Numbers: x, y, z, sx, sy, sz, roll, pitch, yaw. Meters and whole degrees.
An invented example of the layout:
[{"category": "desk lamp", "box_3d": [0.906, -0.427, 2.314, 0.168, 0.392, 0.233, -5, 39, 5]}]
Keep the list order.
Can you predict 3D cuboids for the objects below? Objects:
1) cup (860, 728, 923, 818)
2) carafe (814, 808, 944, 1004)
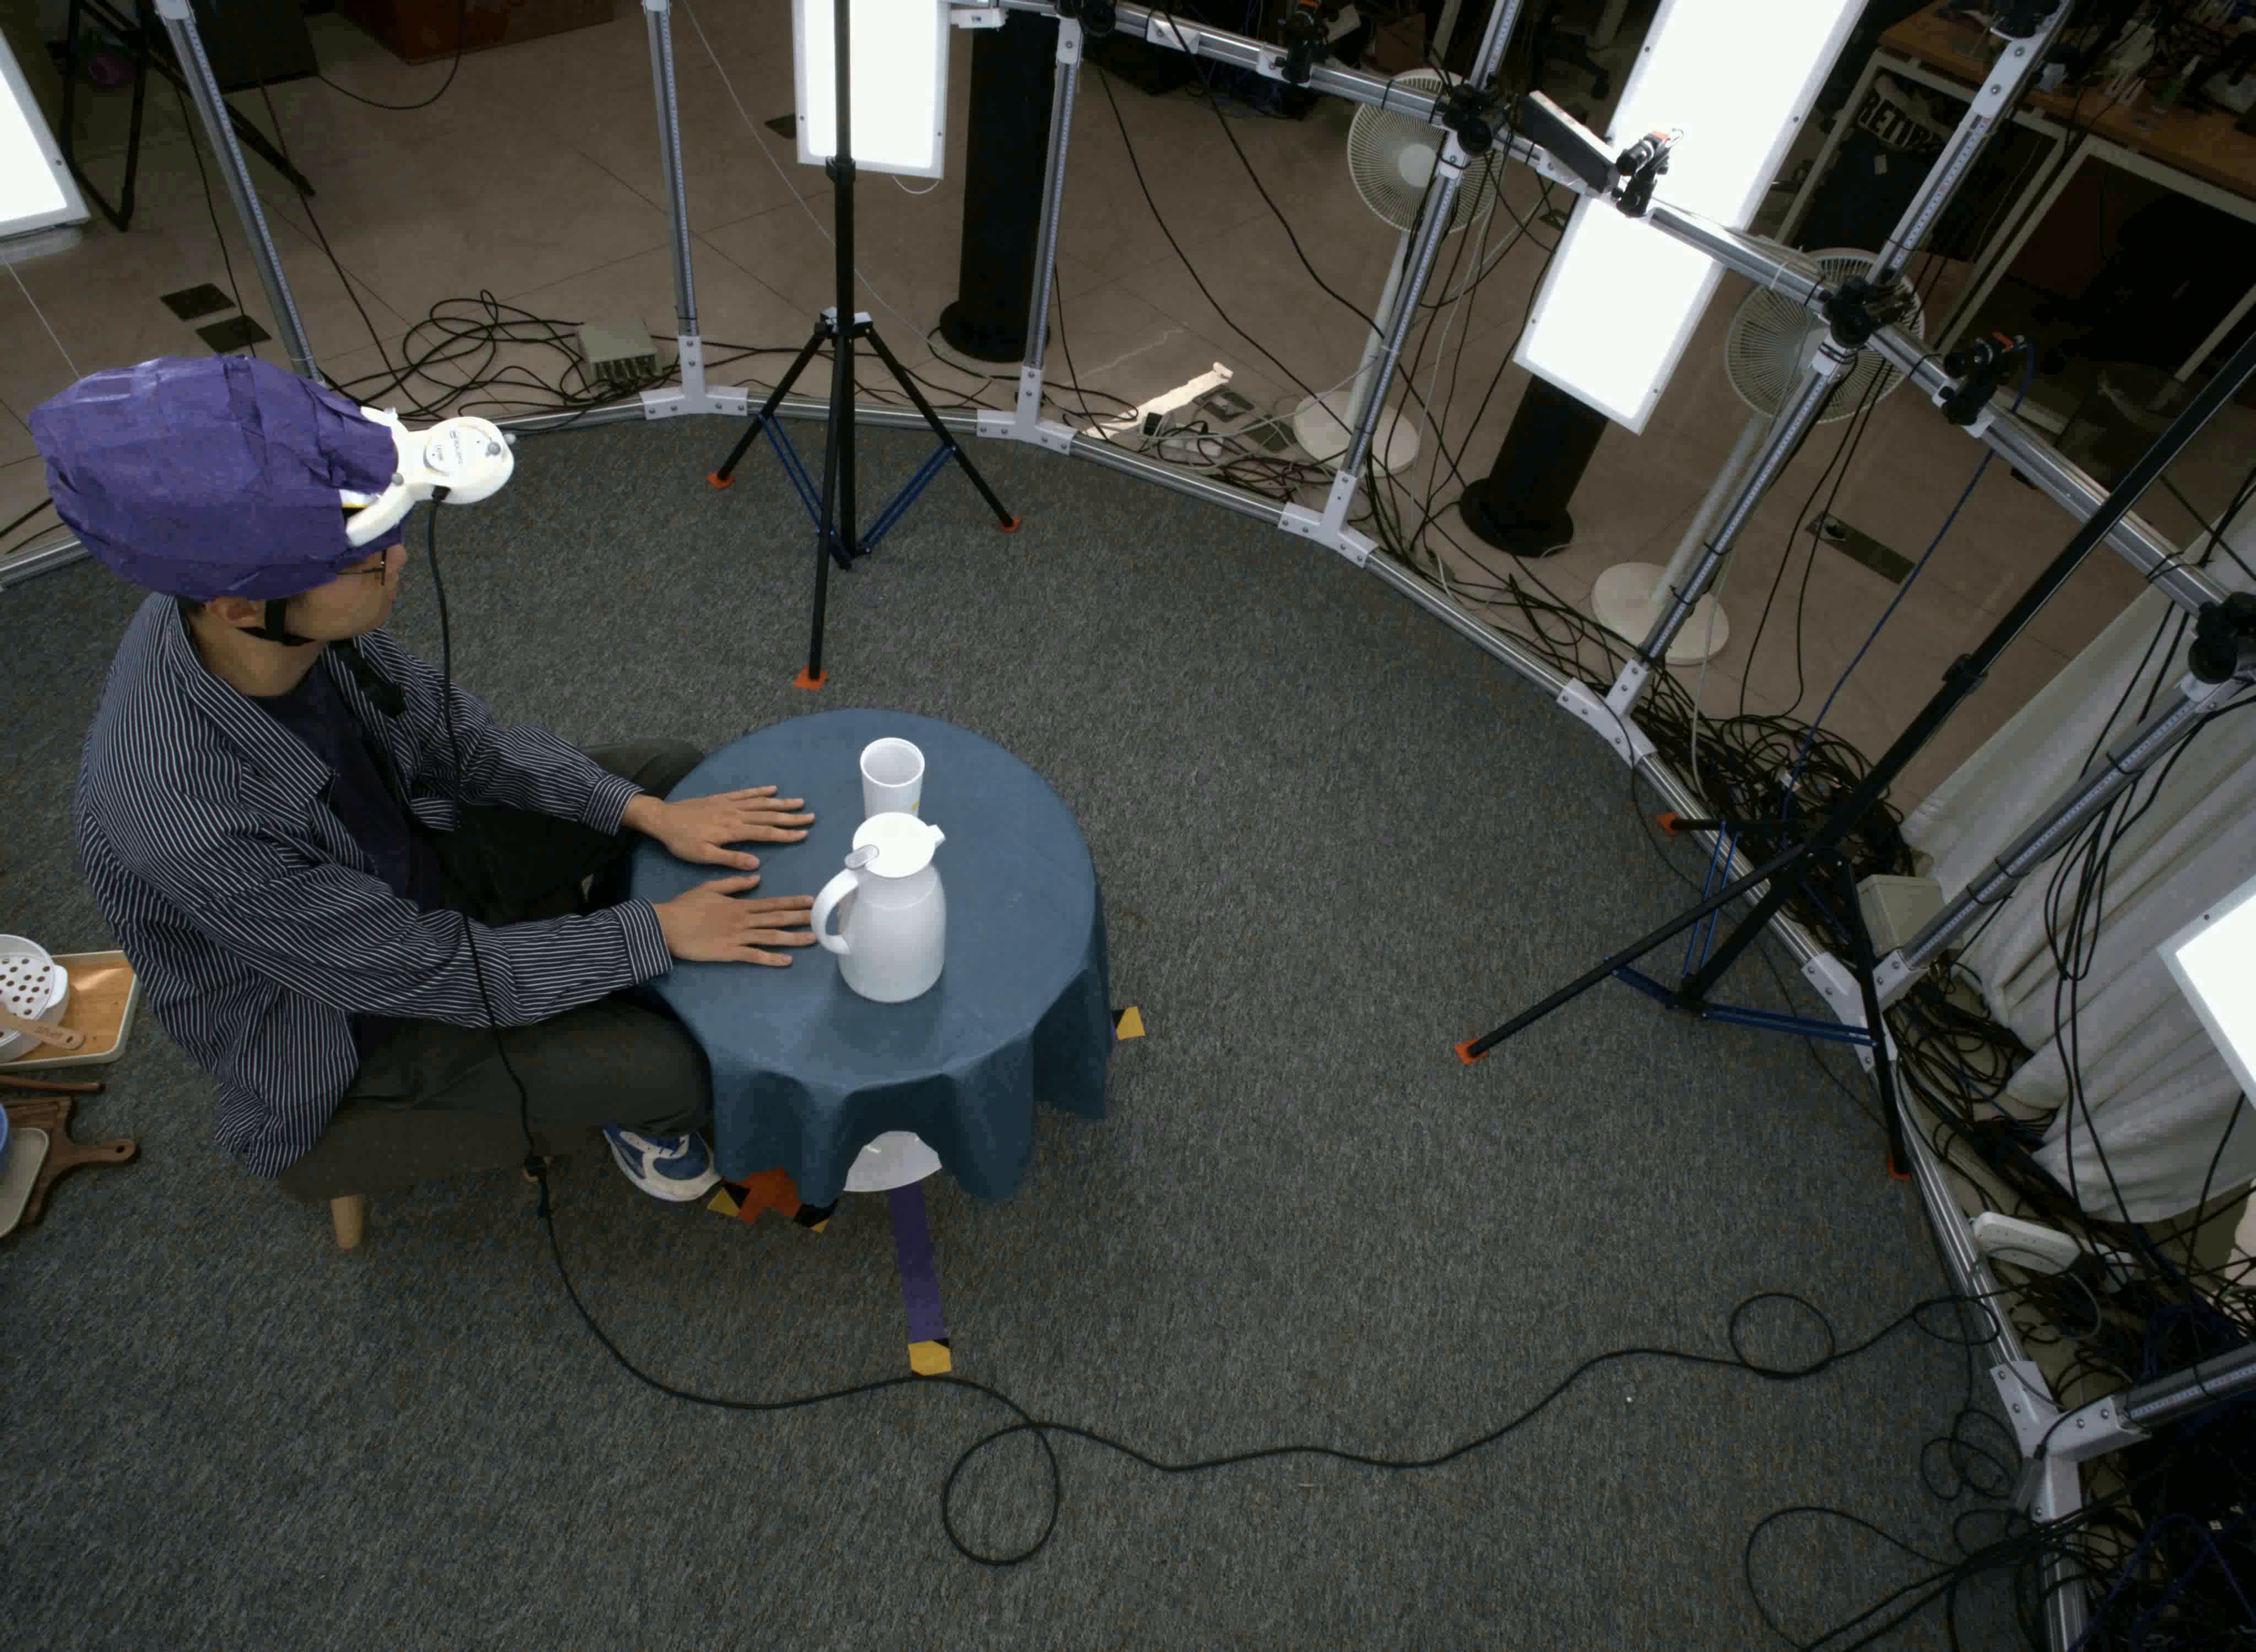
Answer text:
[{"category": "cup", "box_3d": [-0.314, -0.057, 1.726, 0.081, 0.128, 0.080, 6, 52, -6]}, {"category": "carafe", "box_3d": [-0.295, 0.098, 1.534, 0.168, 0.253, 0.129, -33, 66, -33]}]
